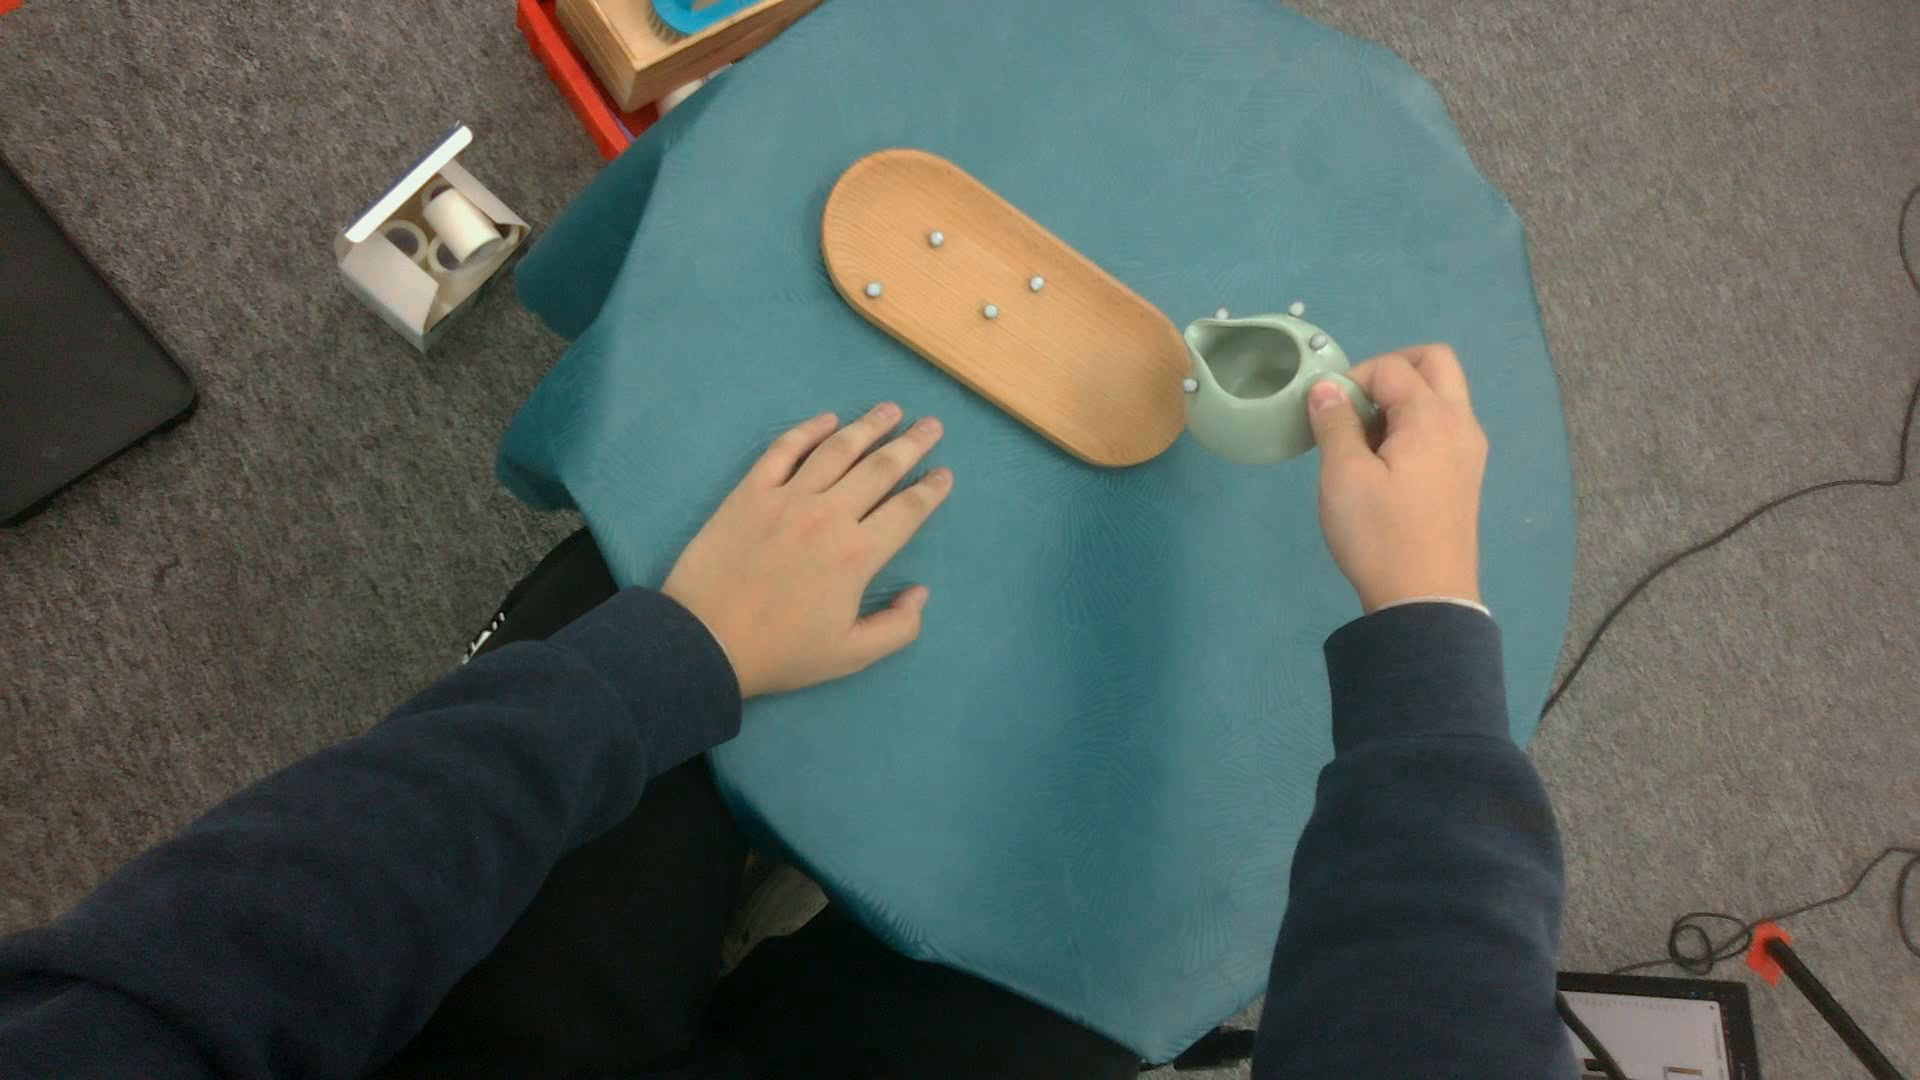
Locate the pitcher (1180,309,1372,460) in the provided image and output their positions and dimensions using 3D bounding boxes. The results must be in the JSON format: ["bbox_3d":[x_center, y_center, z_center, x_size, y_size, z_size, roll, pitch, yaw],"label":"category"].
[{"bbox_3d":[0.166,-0.080,0.716,0.108,0.060,0.086,27,78,32],"label":"pitcher"}]

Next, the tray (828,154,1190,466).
[{"bbox_3d":[0.031,-0.125,0.763,0.231,0.020,0.102,32,73,-14],"label":"tray"}]
